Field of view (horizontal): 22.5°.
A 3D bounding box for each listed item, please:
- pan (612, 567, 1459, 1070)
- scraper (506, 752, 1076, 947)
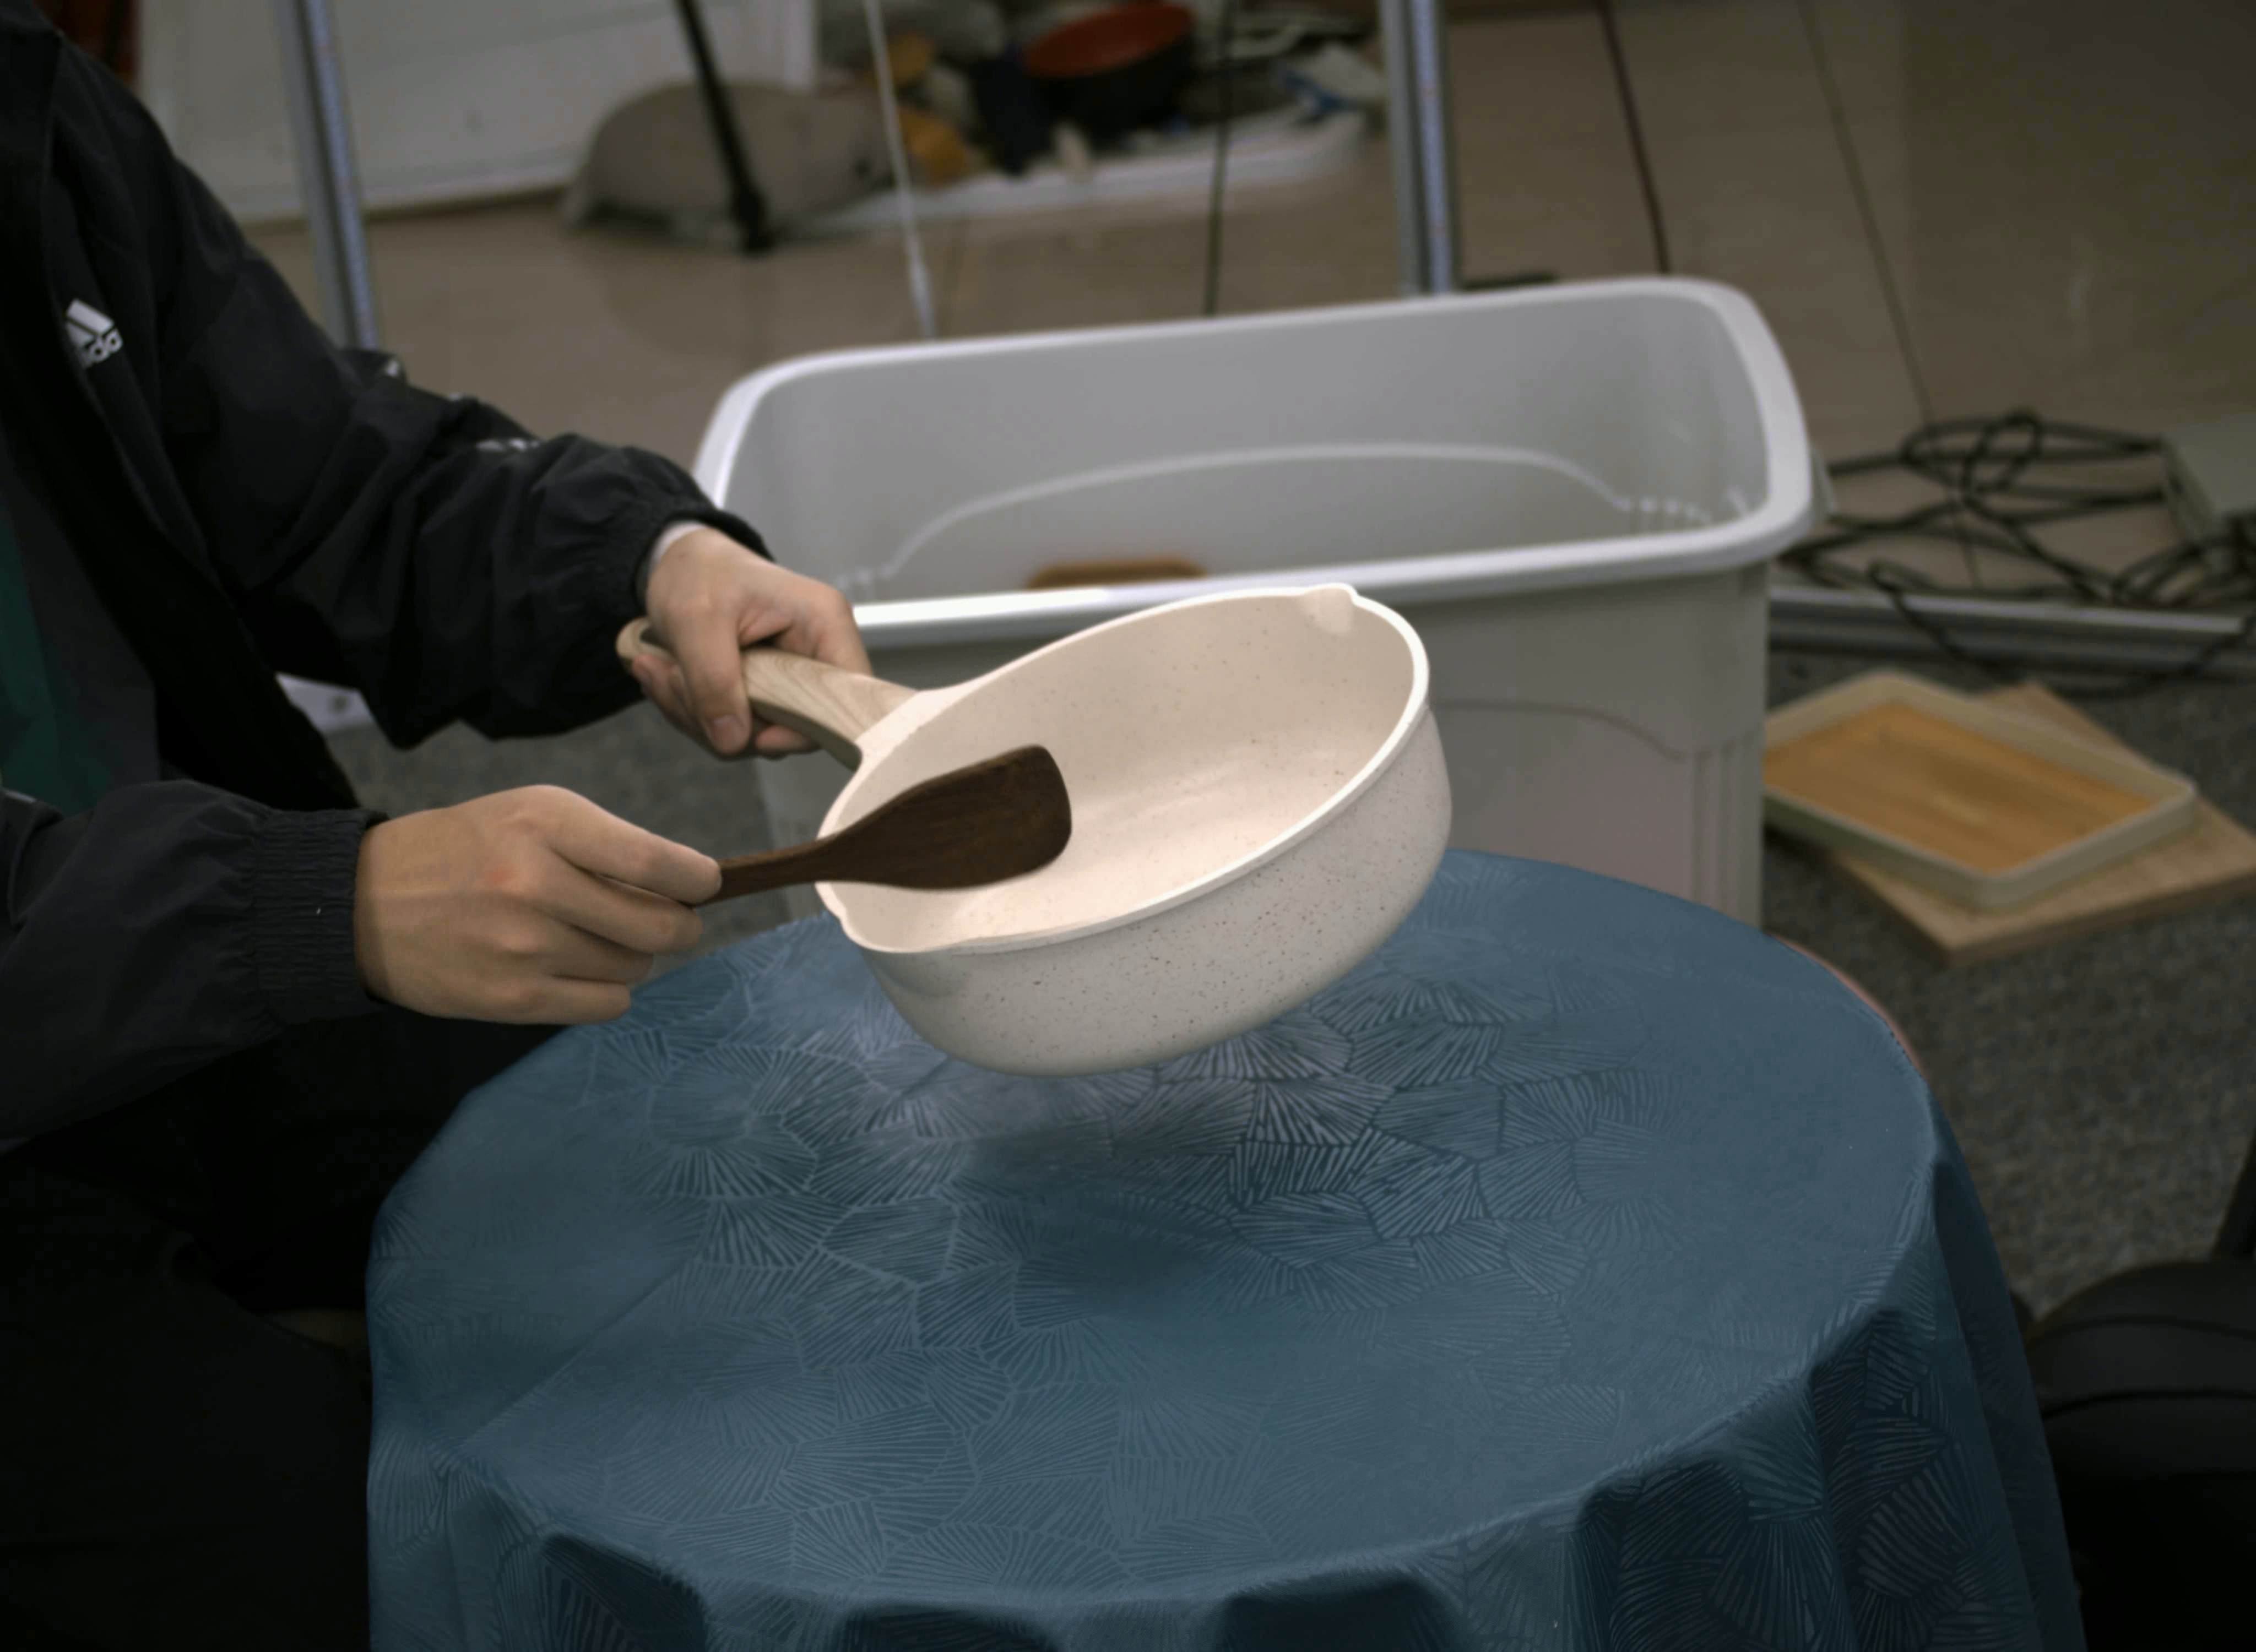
[{"bbox_3d":[-0.051,-0.013,2.247,0.260,0.103,0.432,-41,31,-29],"label":"pan"},{"bbox_3d":[-0.123,0.016,2.066,0.211,0.077,0.010,-11,54,2],"label":"scraper"}]
